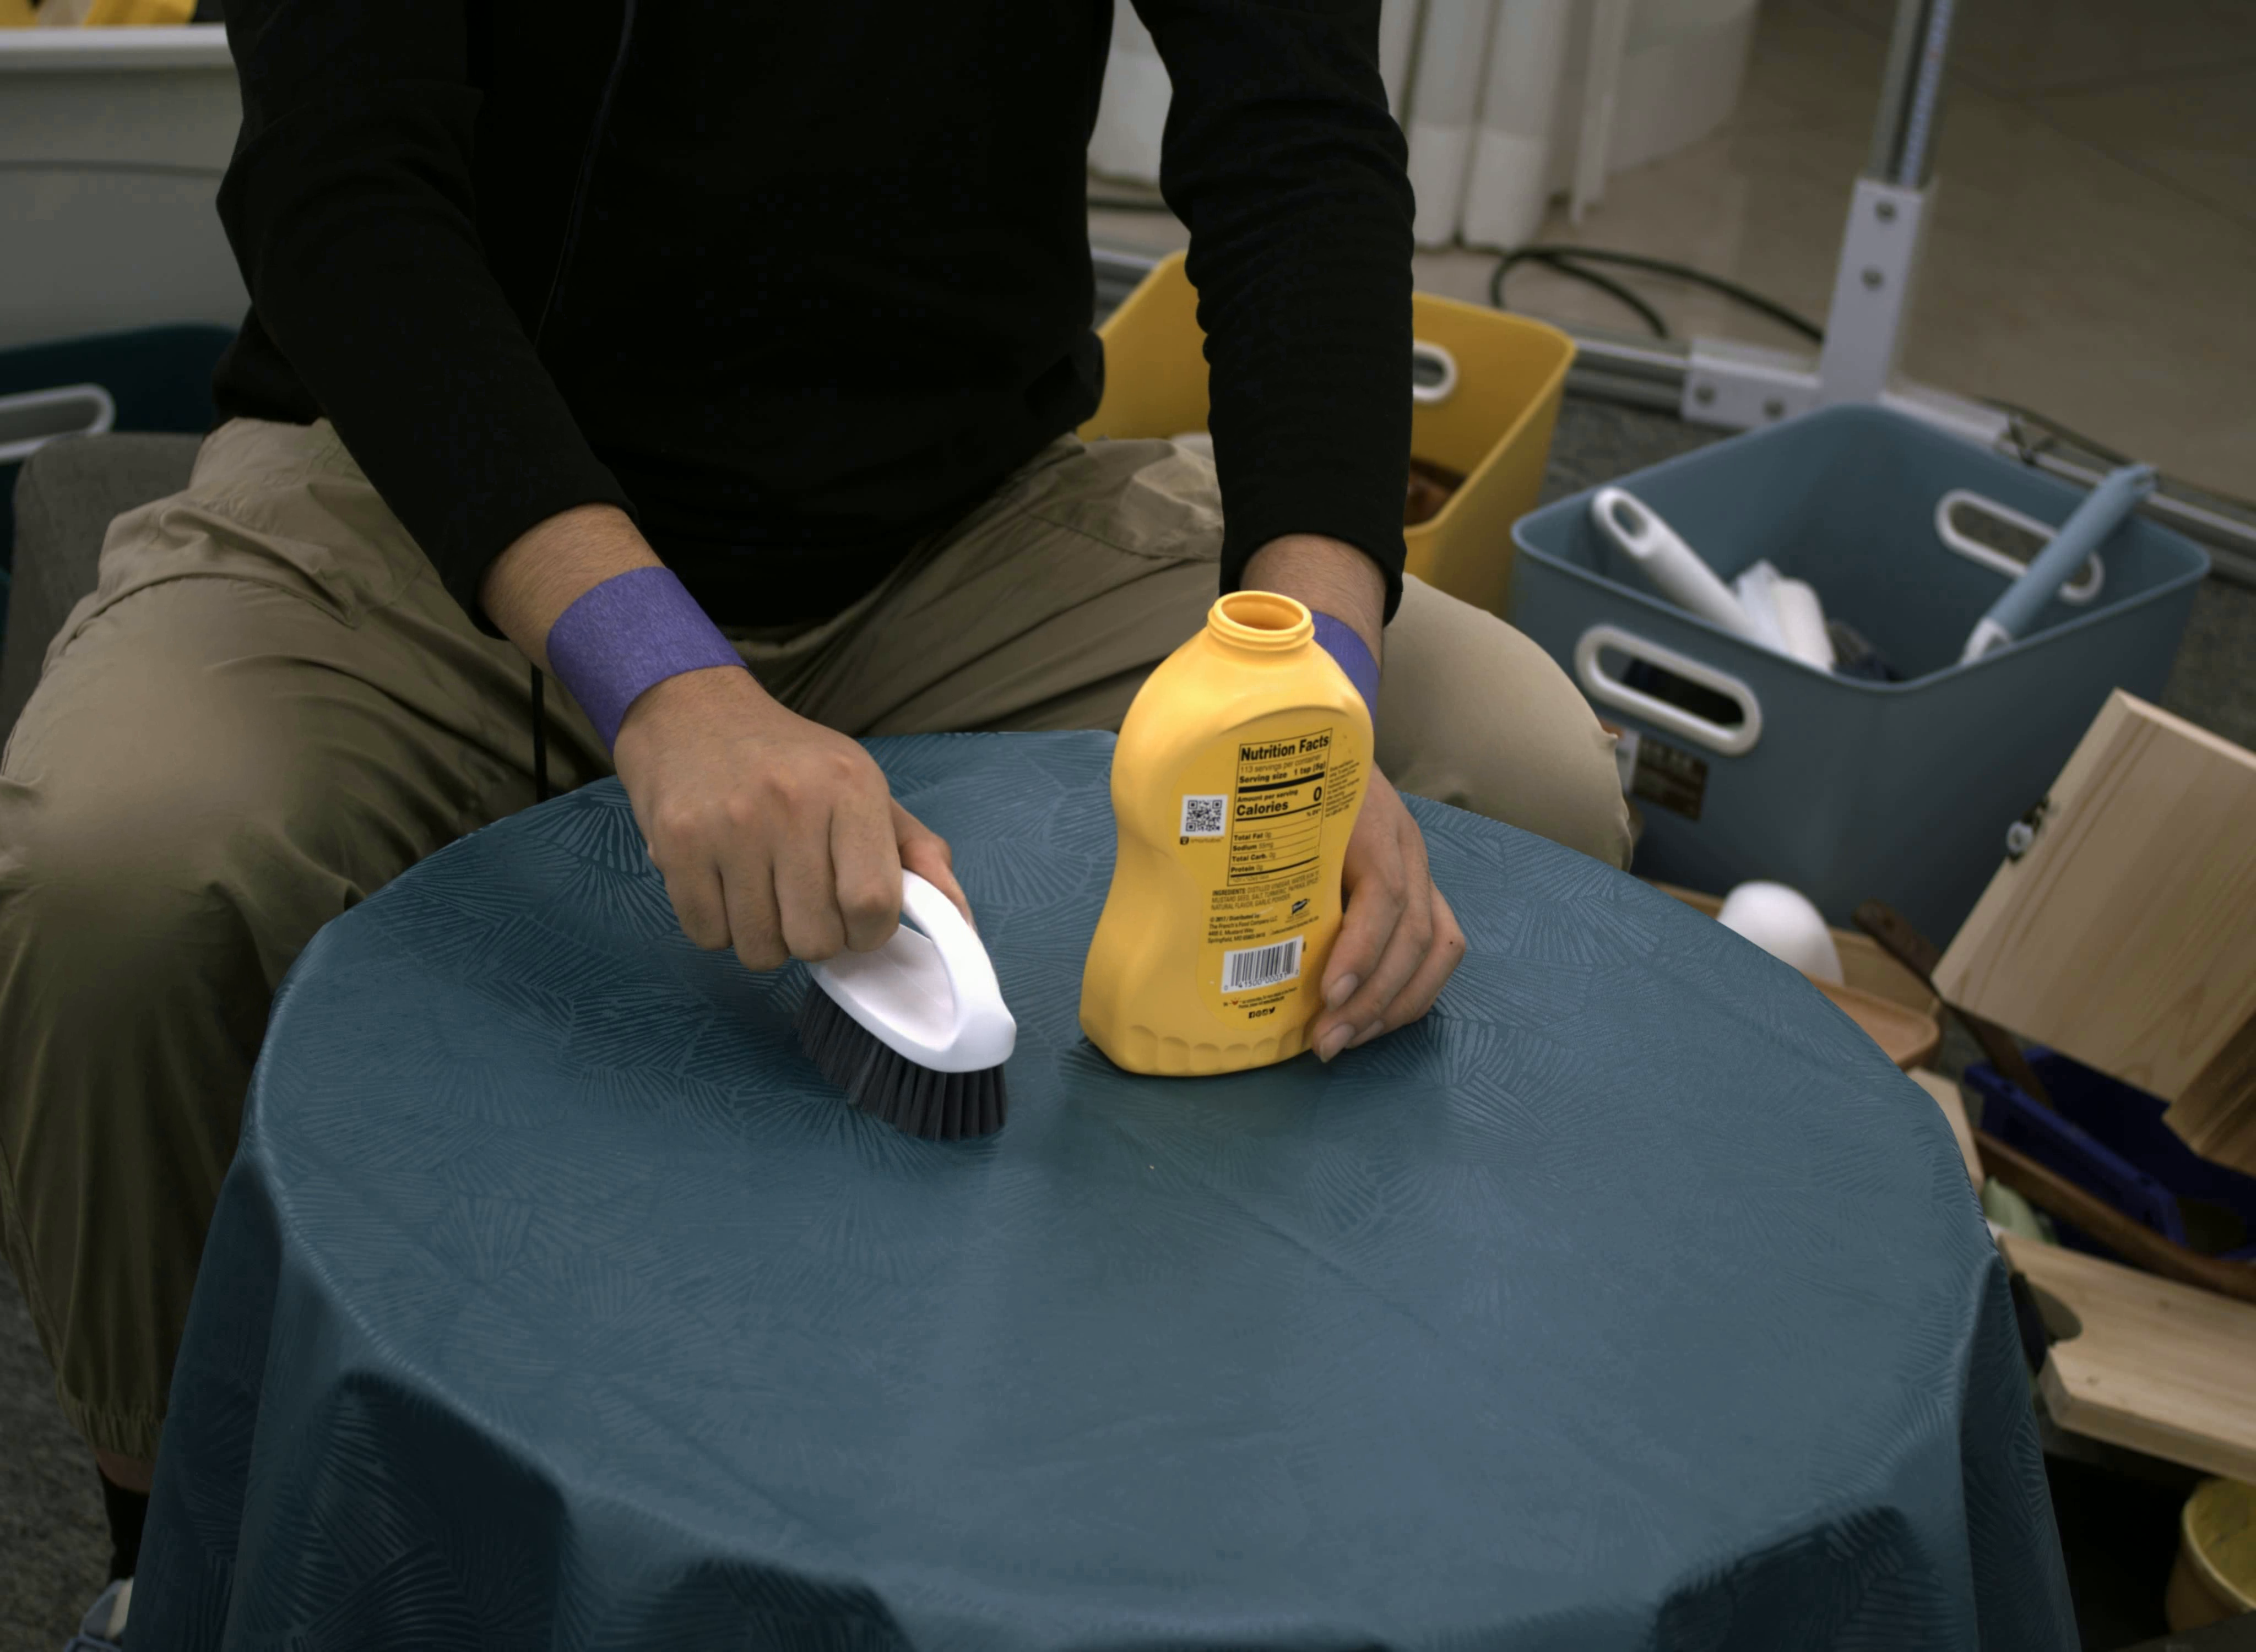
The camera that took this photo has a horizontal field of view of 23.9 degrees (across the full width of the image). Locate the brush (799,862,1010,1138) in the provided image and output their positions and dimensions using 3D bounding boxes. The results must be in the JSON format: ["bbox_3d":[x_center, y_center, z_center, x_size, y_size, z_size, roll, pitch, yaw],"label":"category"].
[{"bbox_3d":[-0.076,0.053,1.840,0.050,0.072,0.100,-9,32,-31],"label":"brush"}]

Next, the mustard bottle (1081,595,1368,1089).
[{"bbox_3d":[0.036,0.004,1.860,0.097,0.171,0.060,-12,28,-31],"label":"mustard bottle"}]
